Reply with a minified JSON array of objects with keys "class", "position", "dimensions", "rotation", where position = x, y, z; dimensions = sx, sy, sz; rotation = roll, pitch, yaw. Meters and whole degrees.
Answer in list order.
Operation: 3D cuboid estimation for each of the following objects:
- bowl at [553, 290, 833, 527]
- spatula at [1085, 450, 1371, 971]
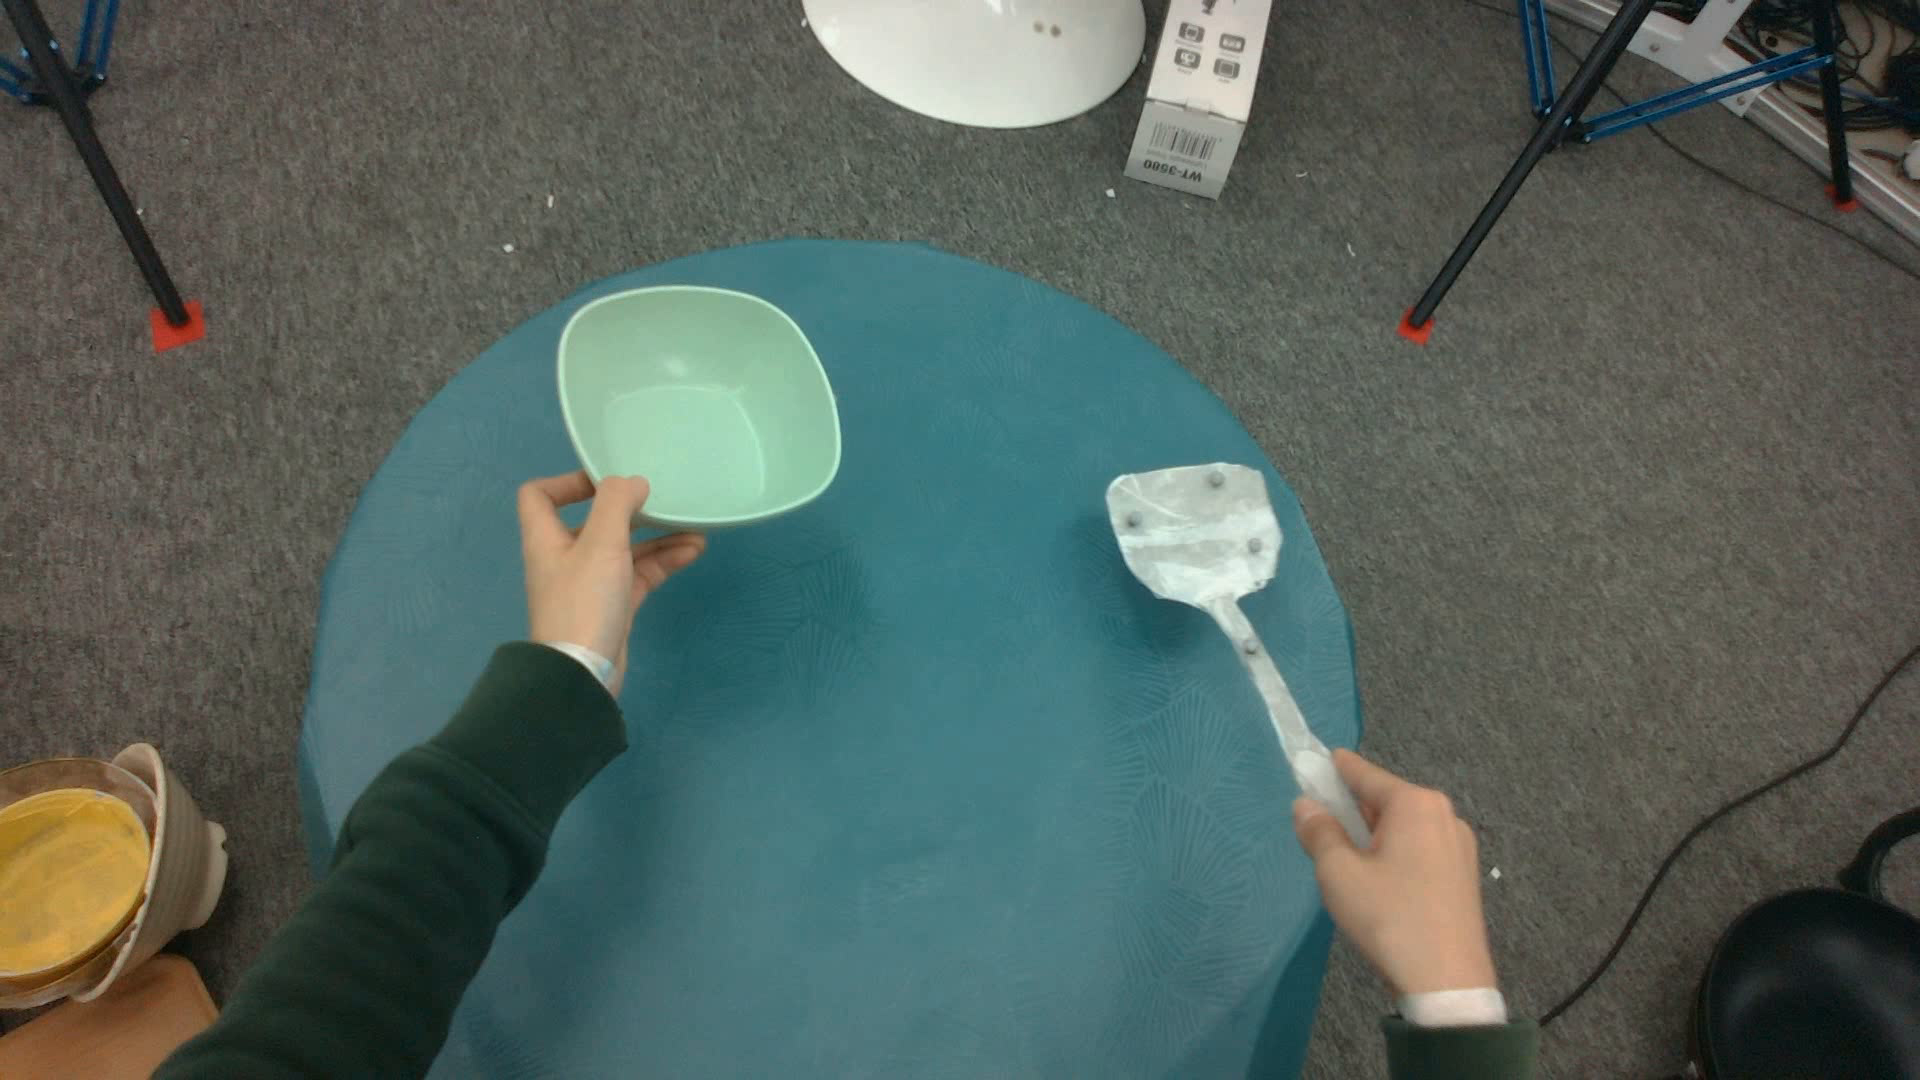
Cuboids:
[{"class":"bowl","position":[-0.143,-0.059,0.719],"dimensions":[0.151,0.058,0.152],"rotation":[12,55,-18]},{"class":"spatula","position":[0.144,0.061,0.709],"dimensions":[0.099,0.044,0.366],"rotation":[-3,33,-7]}]
